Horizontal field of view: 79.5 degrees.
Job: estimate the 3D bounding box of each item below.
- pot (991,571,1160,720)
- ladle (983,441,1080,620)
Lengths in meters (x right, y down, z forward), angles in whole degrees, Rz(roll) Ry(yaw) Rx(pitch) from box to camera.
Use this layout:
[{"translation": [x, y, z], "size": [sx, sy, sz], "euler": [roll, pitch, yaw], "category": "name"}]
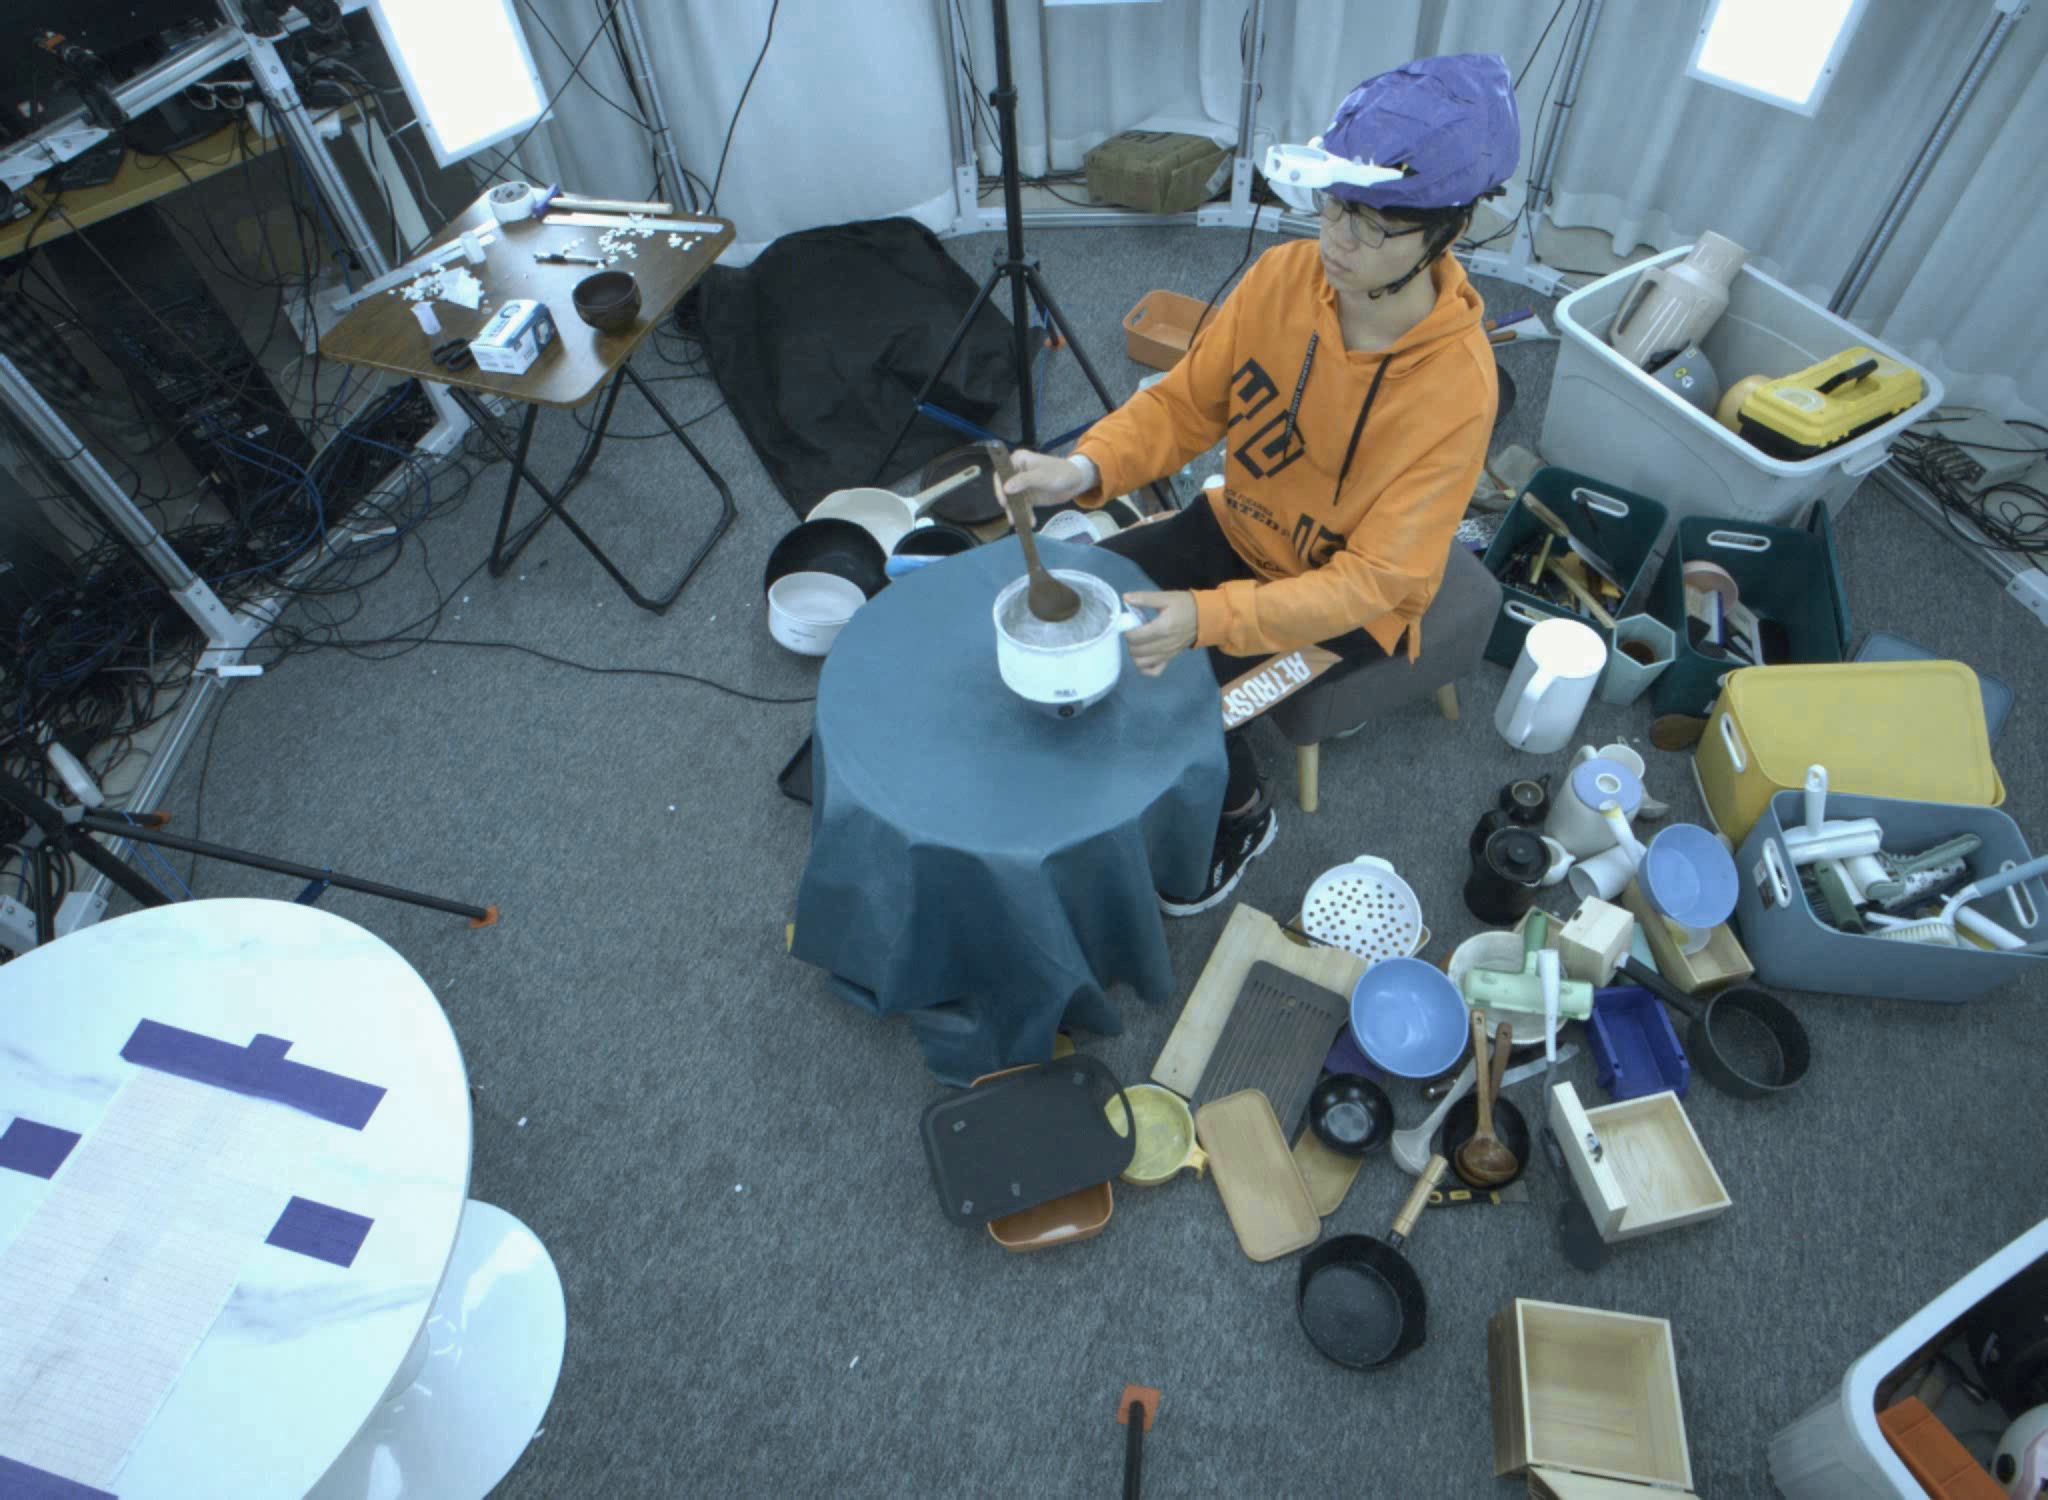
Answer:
[{"translation": [0.075, -0.152, 1.741], "size": [0.234, 0.138, 0.176], "euler": [-7, 48, -3], "category": "pot"}, {"translation": [0.005, -0.309, 1.686], "size": [0.077, 0.070, 0.274], "euler": [-19, 93, -24], "category": "ladle"}]
